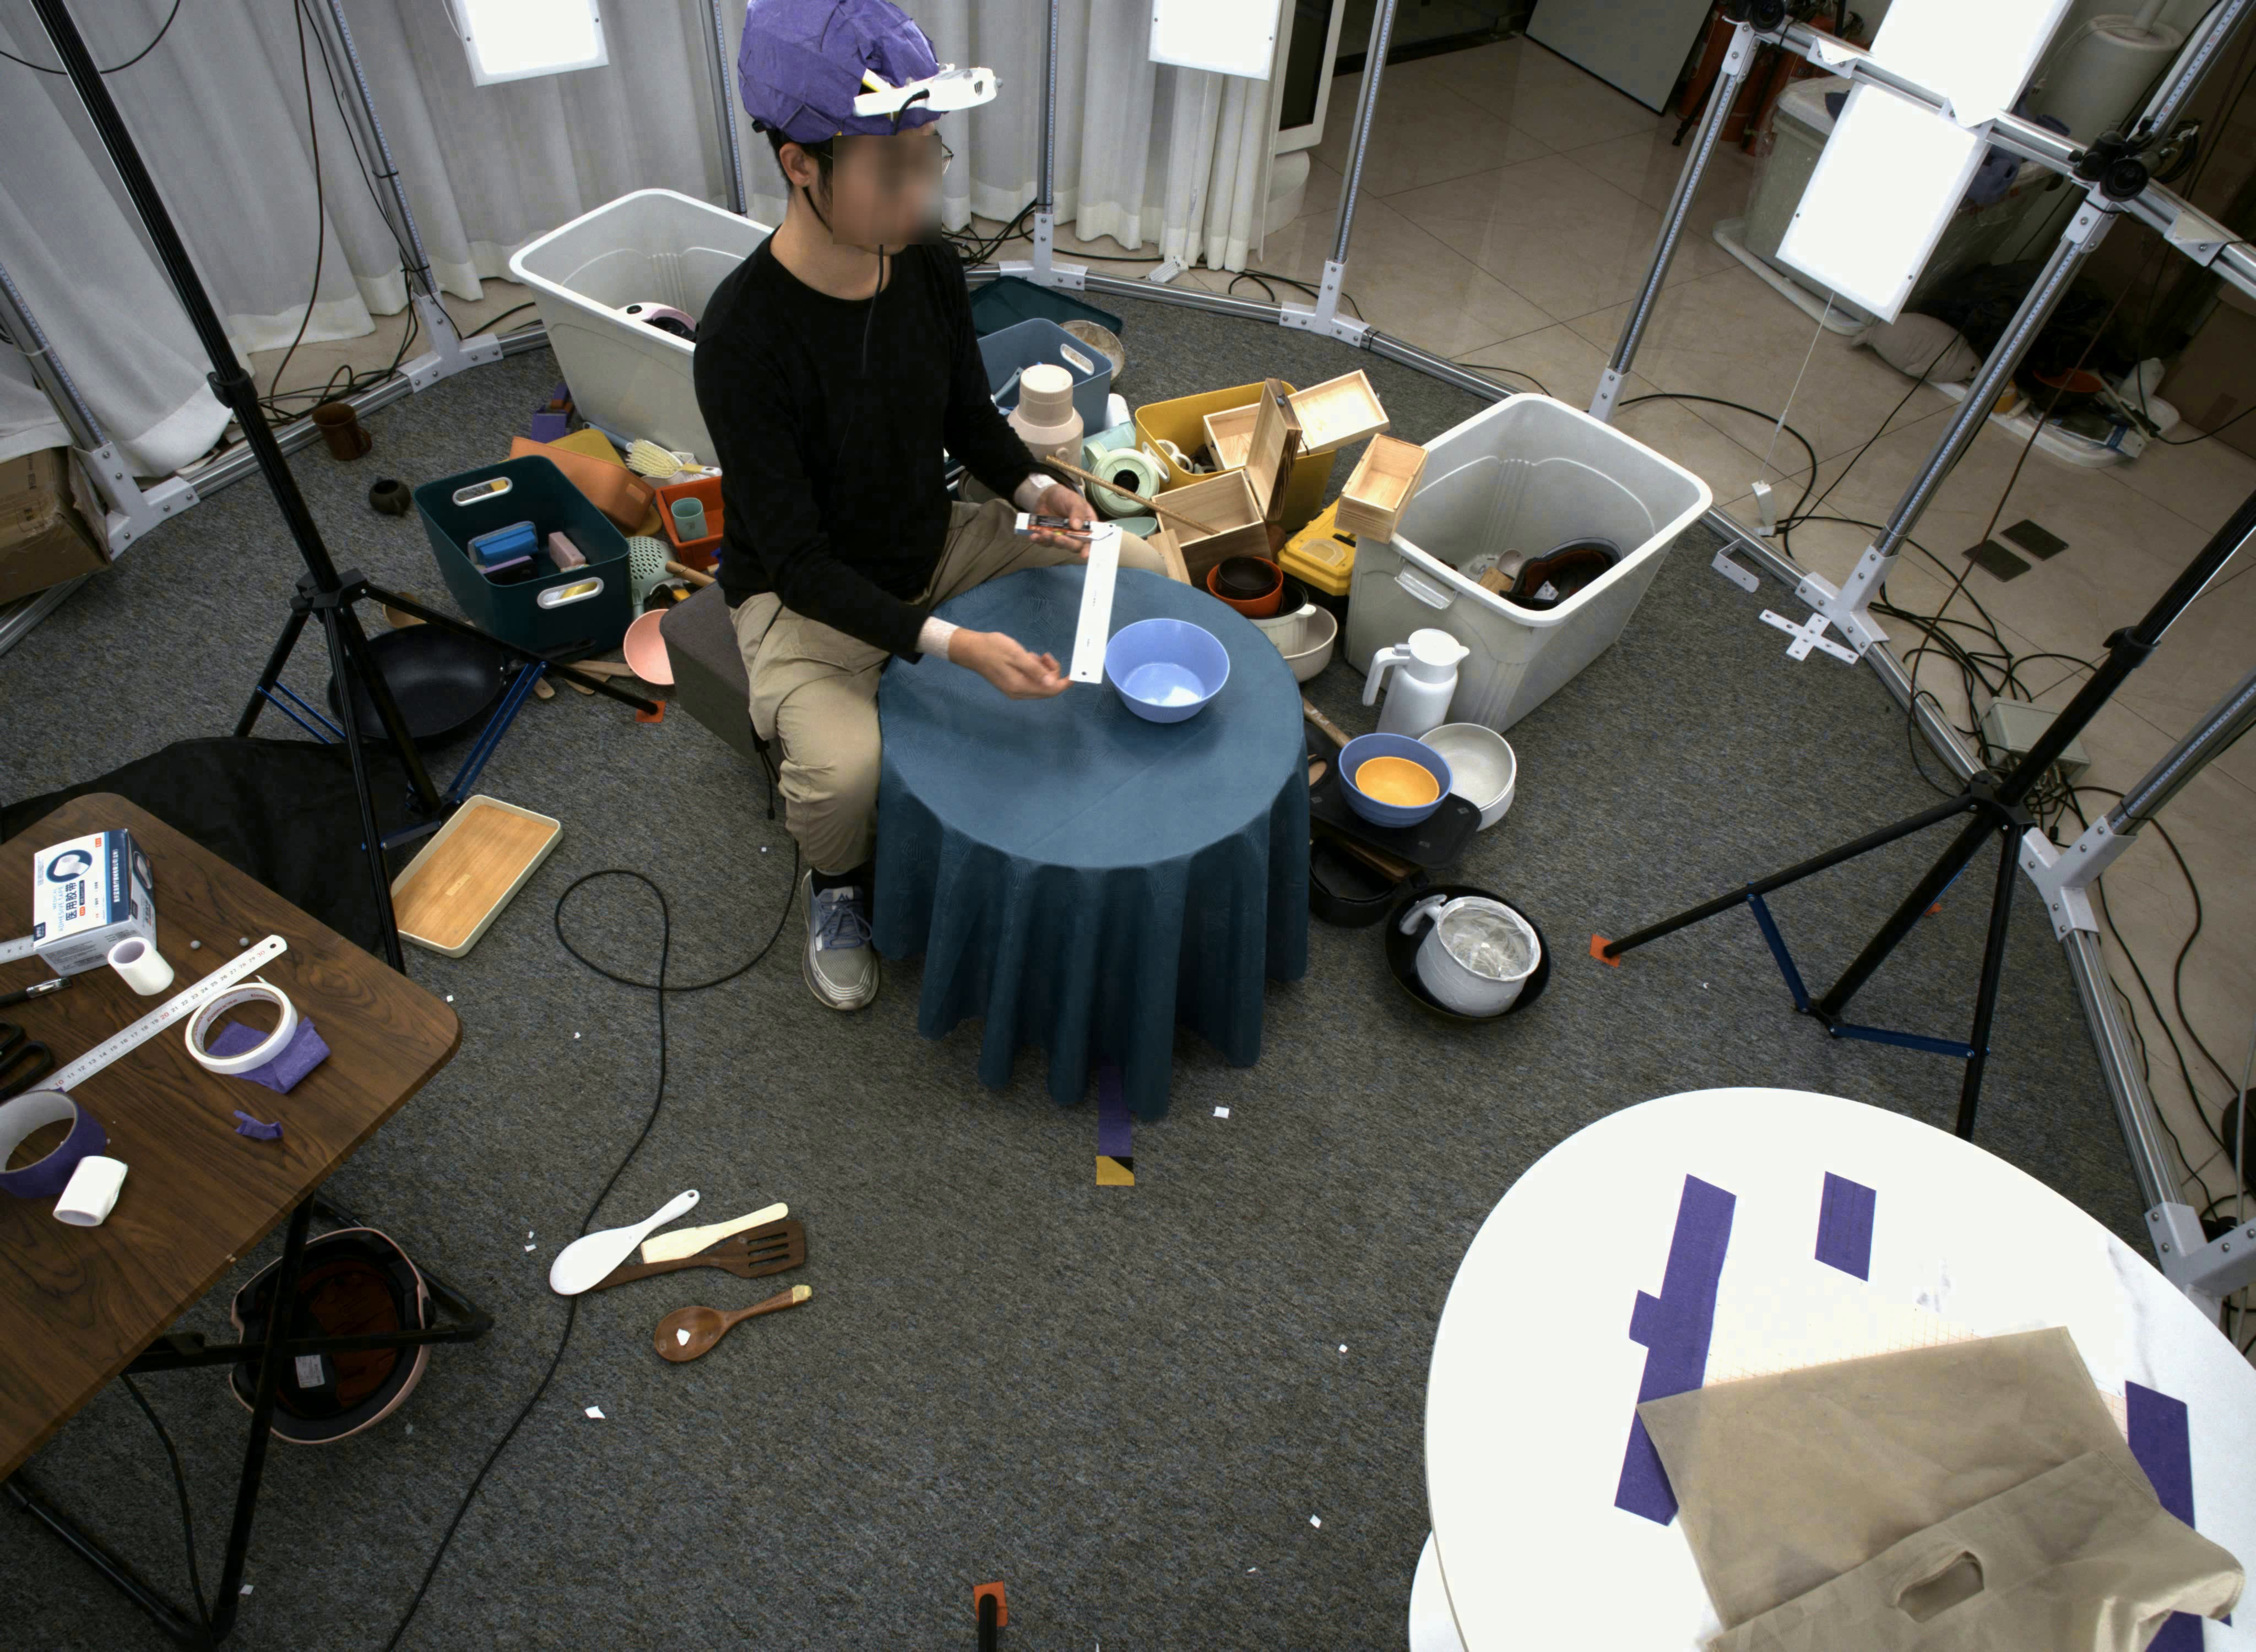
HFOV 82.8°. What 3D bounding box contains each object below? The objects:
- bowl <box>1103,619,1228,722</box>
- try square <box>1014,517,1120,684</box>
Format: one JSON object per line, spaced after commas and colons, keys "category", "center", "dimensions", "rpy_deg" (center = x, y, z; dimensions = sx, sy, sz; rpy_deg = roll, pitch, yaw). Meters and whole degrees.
{"category": "bowl", "center": [0.050, -0.211, 1.811], "dimensions": [0.176, 0.068, 0.180], "rpy_deg": [2, 50, -2]}
{"category": "try square", "center": [-0.100, -0.318, 1.781], "dimensions": [0.152, 0.015, 0.320], "rpy_deg": [4, 52, 4]}
